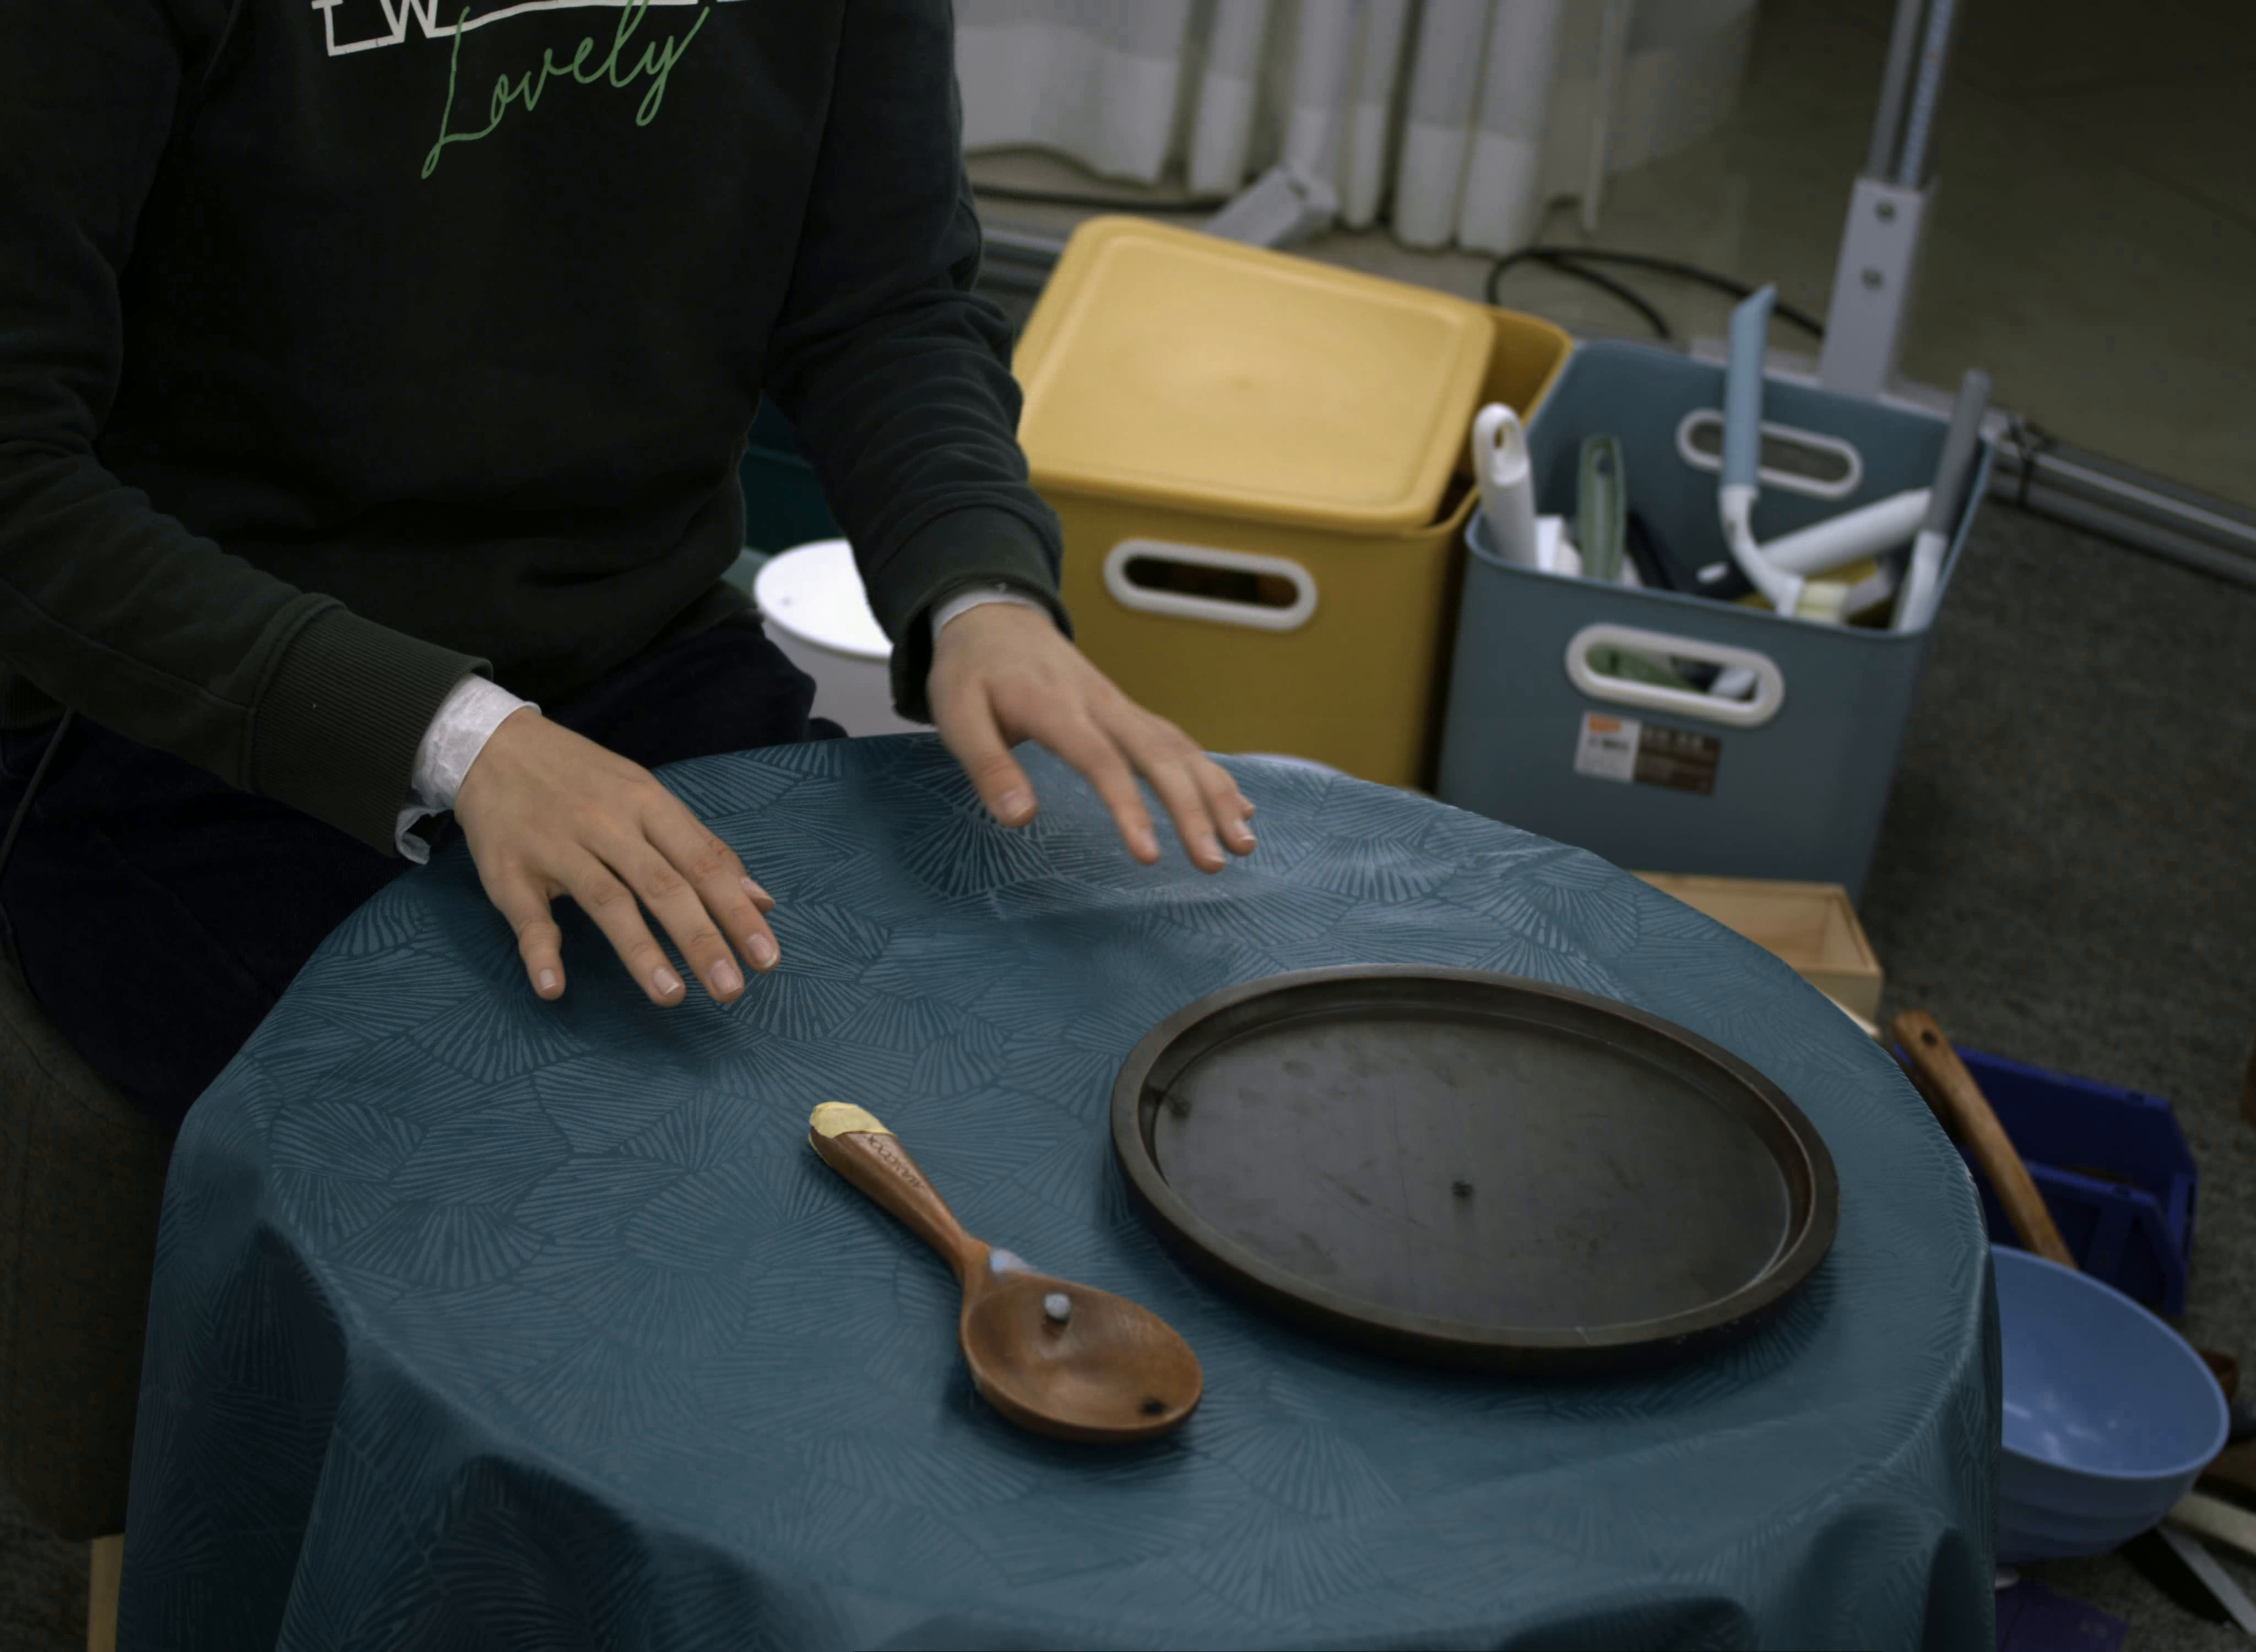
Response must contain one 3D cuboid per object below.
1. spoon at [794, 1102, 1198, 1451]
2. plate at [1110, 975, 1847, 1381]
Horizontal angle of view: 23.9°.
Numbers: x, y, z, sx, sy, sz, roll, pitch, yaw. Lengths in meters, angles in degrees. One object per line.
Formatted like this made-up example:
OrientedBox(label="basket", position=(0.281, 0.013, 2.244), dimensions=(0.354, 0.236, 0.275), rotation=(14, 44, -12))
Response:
OrientedBox(label="spoon", position=(-0.051, 0.146, 1.727), dimensions=(0.075, 0.017, 0.218), rotation=(-10, 31, -30))
OrientedBox(label="plate", position=(0.118, 0.117, 1.815), dimensions=(0.254, 0.029, 0.256), rotation=(6, 27, -3))
